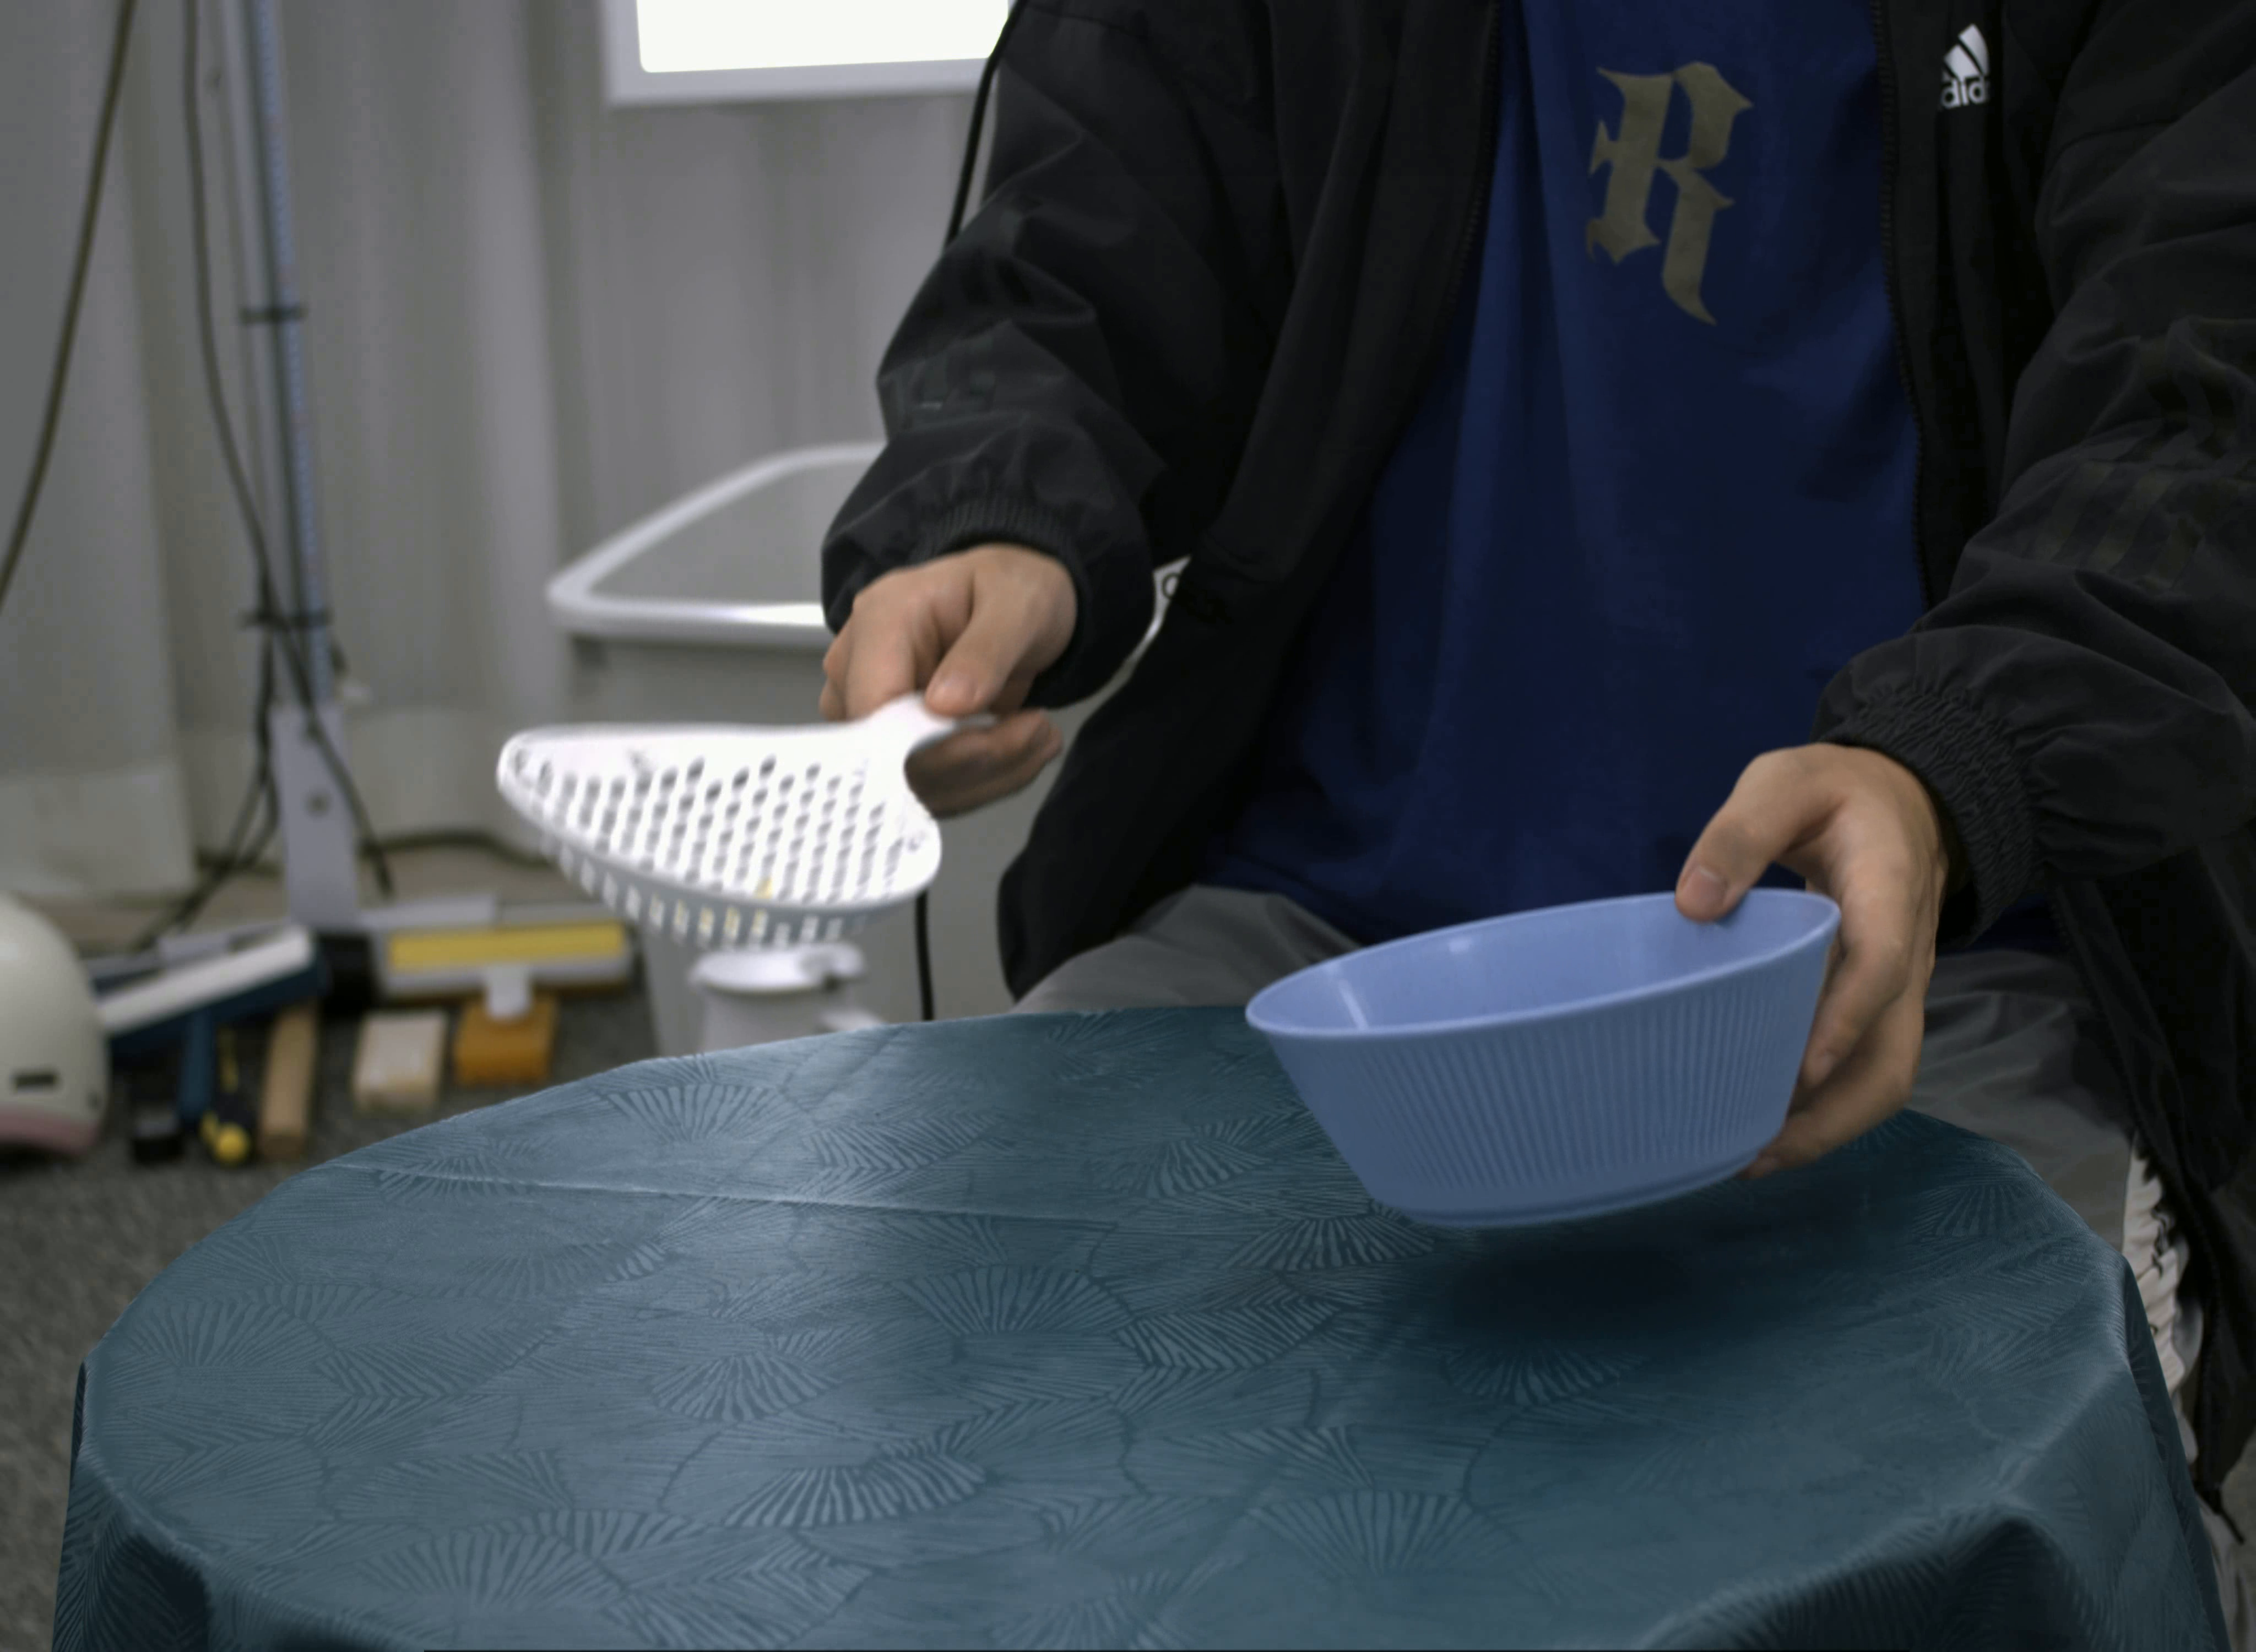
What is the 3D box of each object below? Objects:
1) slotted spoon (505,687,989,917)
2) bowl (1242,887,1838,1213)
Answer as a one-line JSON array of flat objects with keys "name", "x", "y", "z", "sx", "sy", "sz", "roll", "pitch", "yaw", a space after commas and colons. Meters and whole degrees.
[{"name": "slotted spoon", "x": -0.091, "y": -0.019, "z": 1.740, "sx": 0.137, "sy": 0.050, "sz": 0.349, "roll": 17, "pitch": 16, "yaw": 13}, {"name": "bowl", "x": 0.125, "y": 0.067, "z": 1.595, "sx": 0.175, "sy": 0.070, "sz": 0.176, "roll": -10, "pitch": 6, "yaw": 1}]
